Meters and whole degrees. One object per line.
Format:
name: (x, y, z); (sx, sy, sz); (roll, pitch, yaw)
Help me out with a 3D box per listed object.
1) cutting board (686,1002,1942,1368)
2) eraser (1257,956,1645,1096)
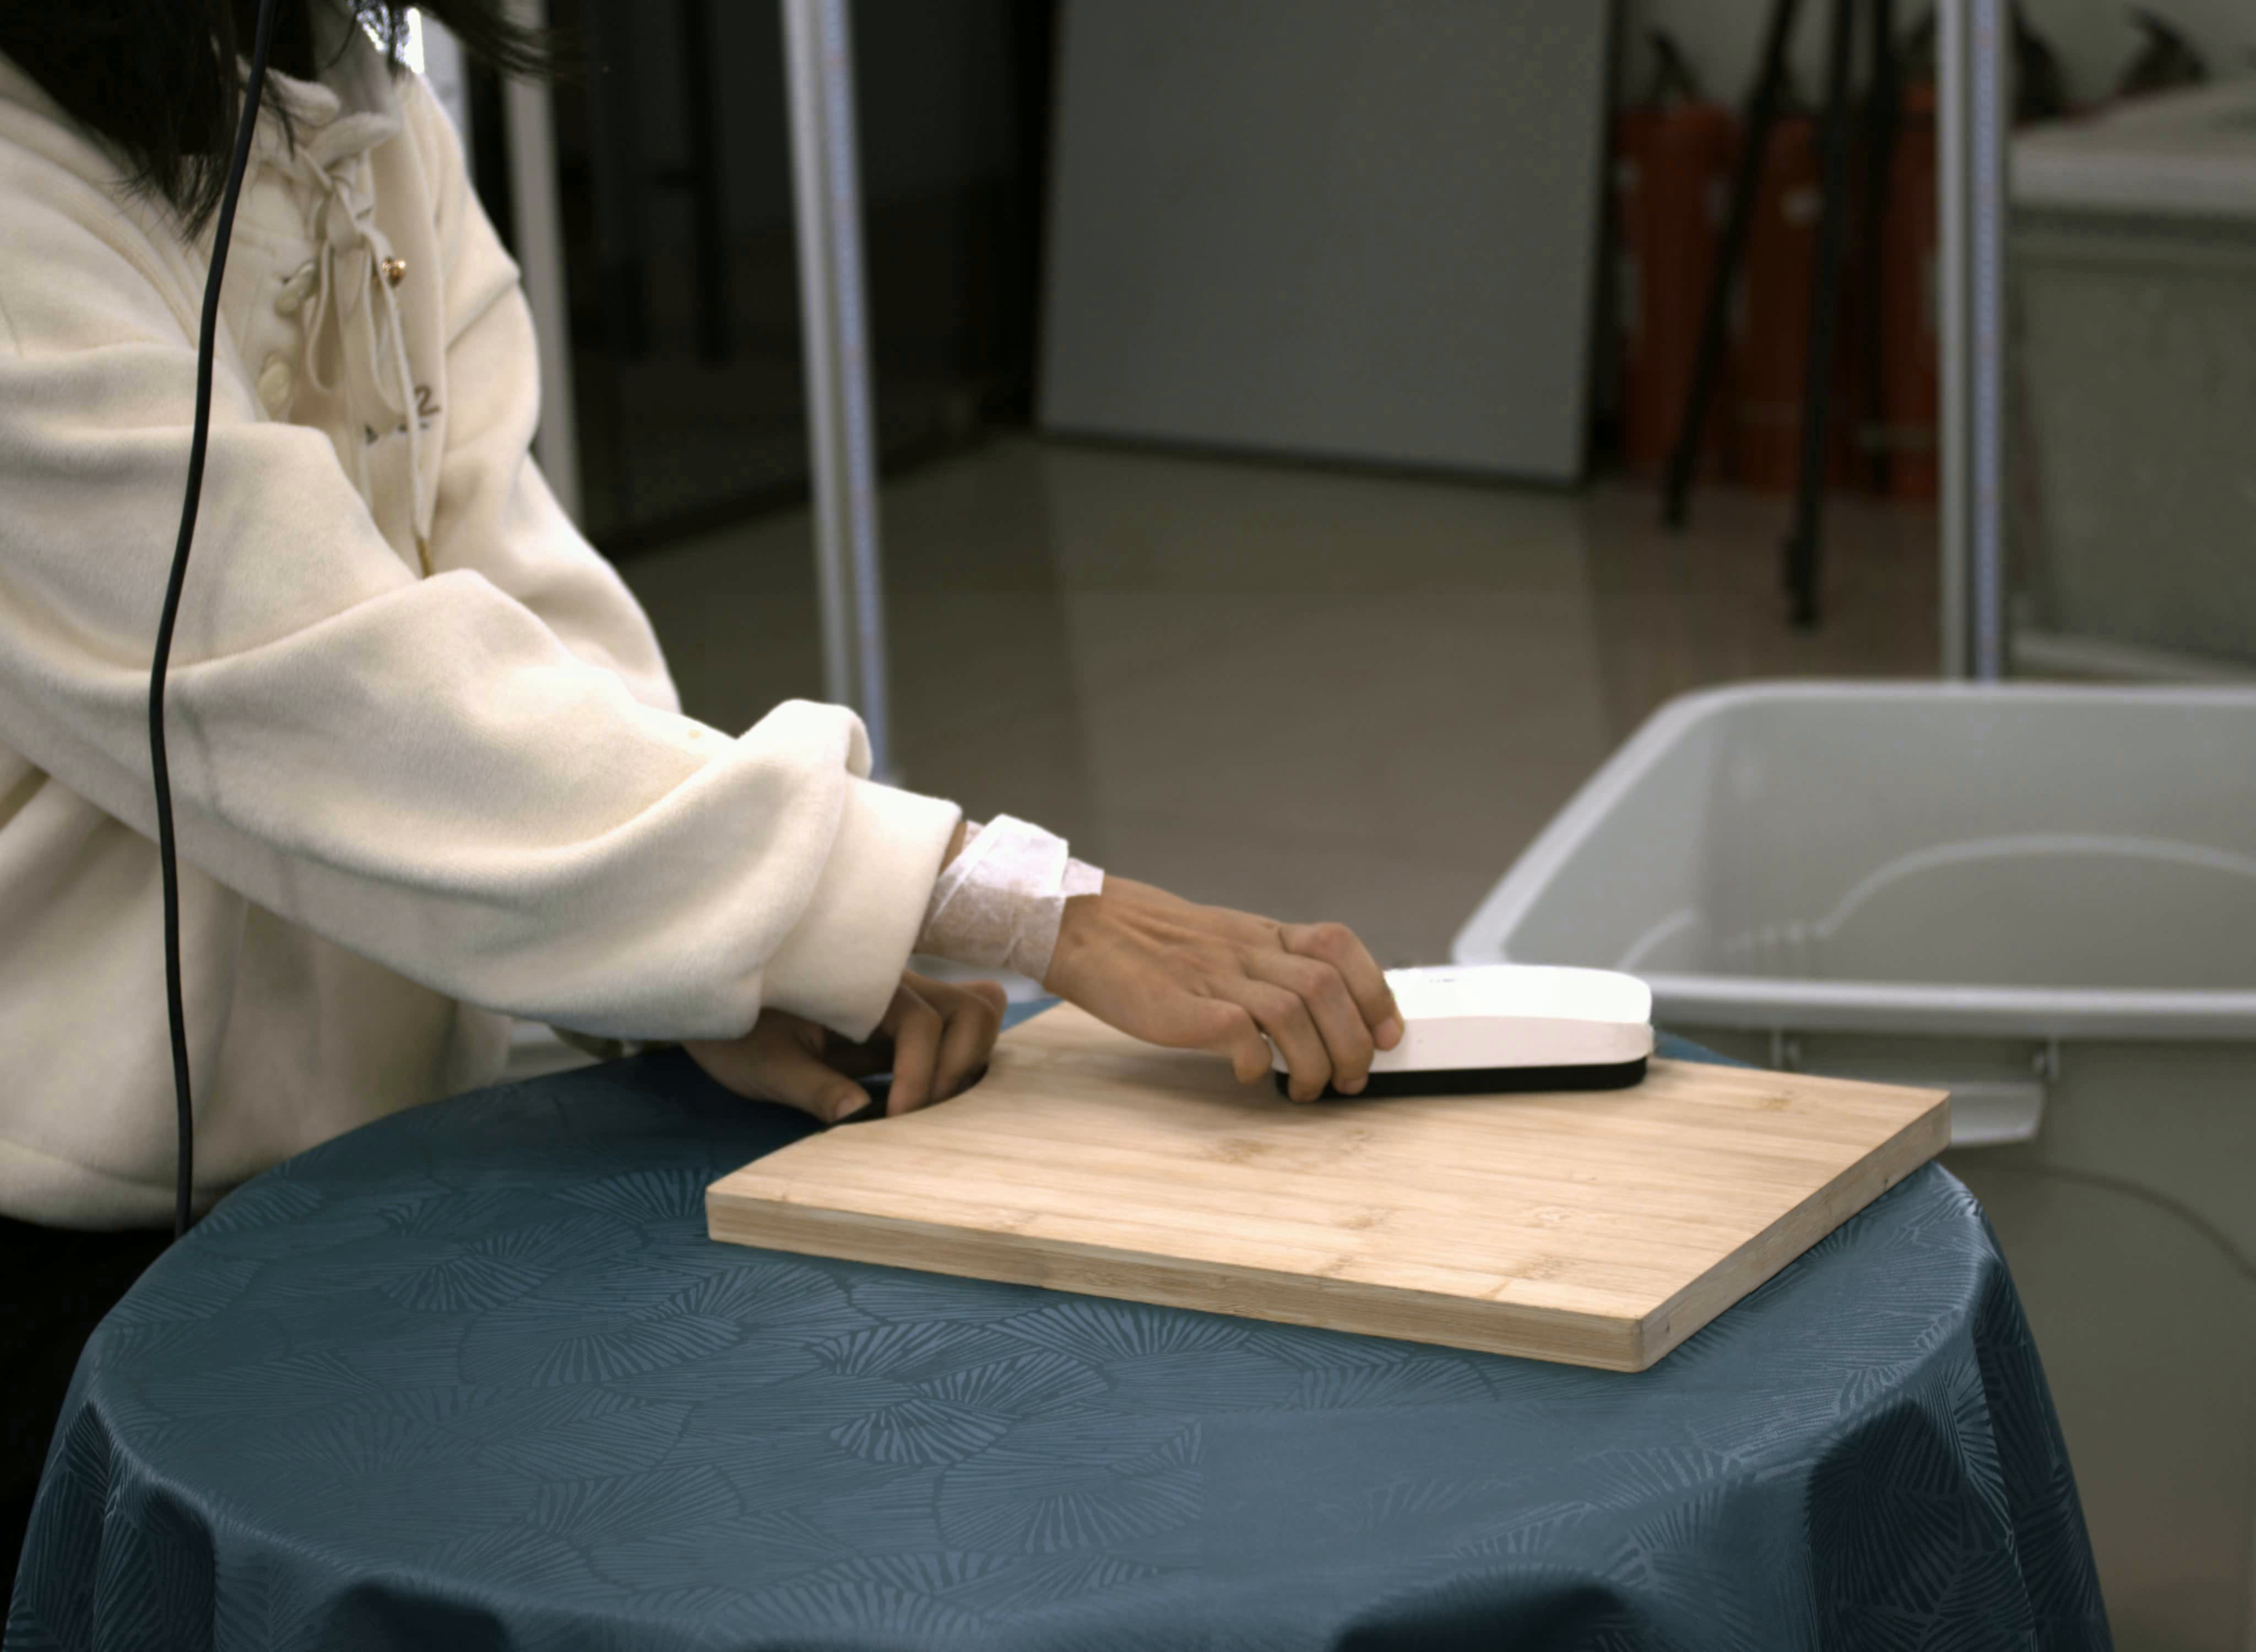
cutting board: (0.062, 0.112, 1.757); (0.350, 0.024, 0.247); (4, 16, 31)
eraser: (0.109, 0.068, 1.812); (0.130, 0.035, 0.063); (-1, 14, 7)
